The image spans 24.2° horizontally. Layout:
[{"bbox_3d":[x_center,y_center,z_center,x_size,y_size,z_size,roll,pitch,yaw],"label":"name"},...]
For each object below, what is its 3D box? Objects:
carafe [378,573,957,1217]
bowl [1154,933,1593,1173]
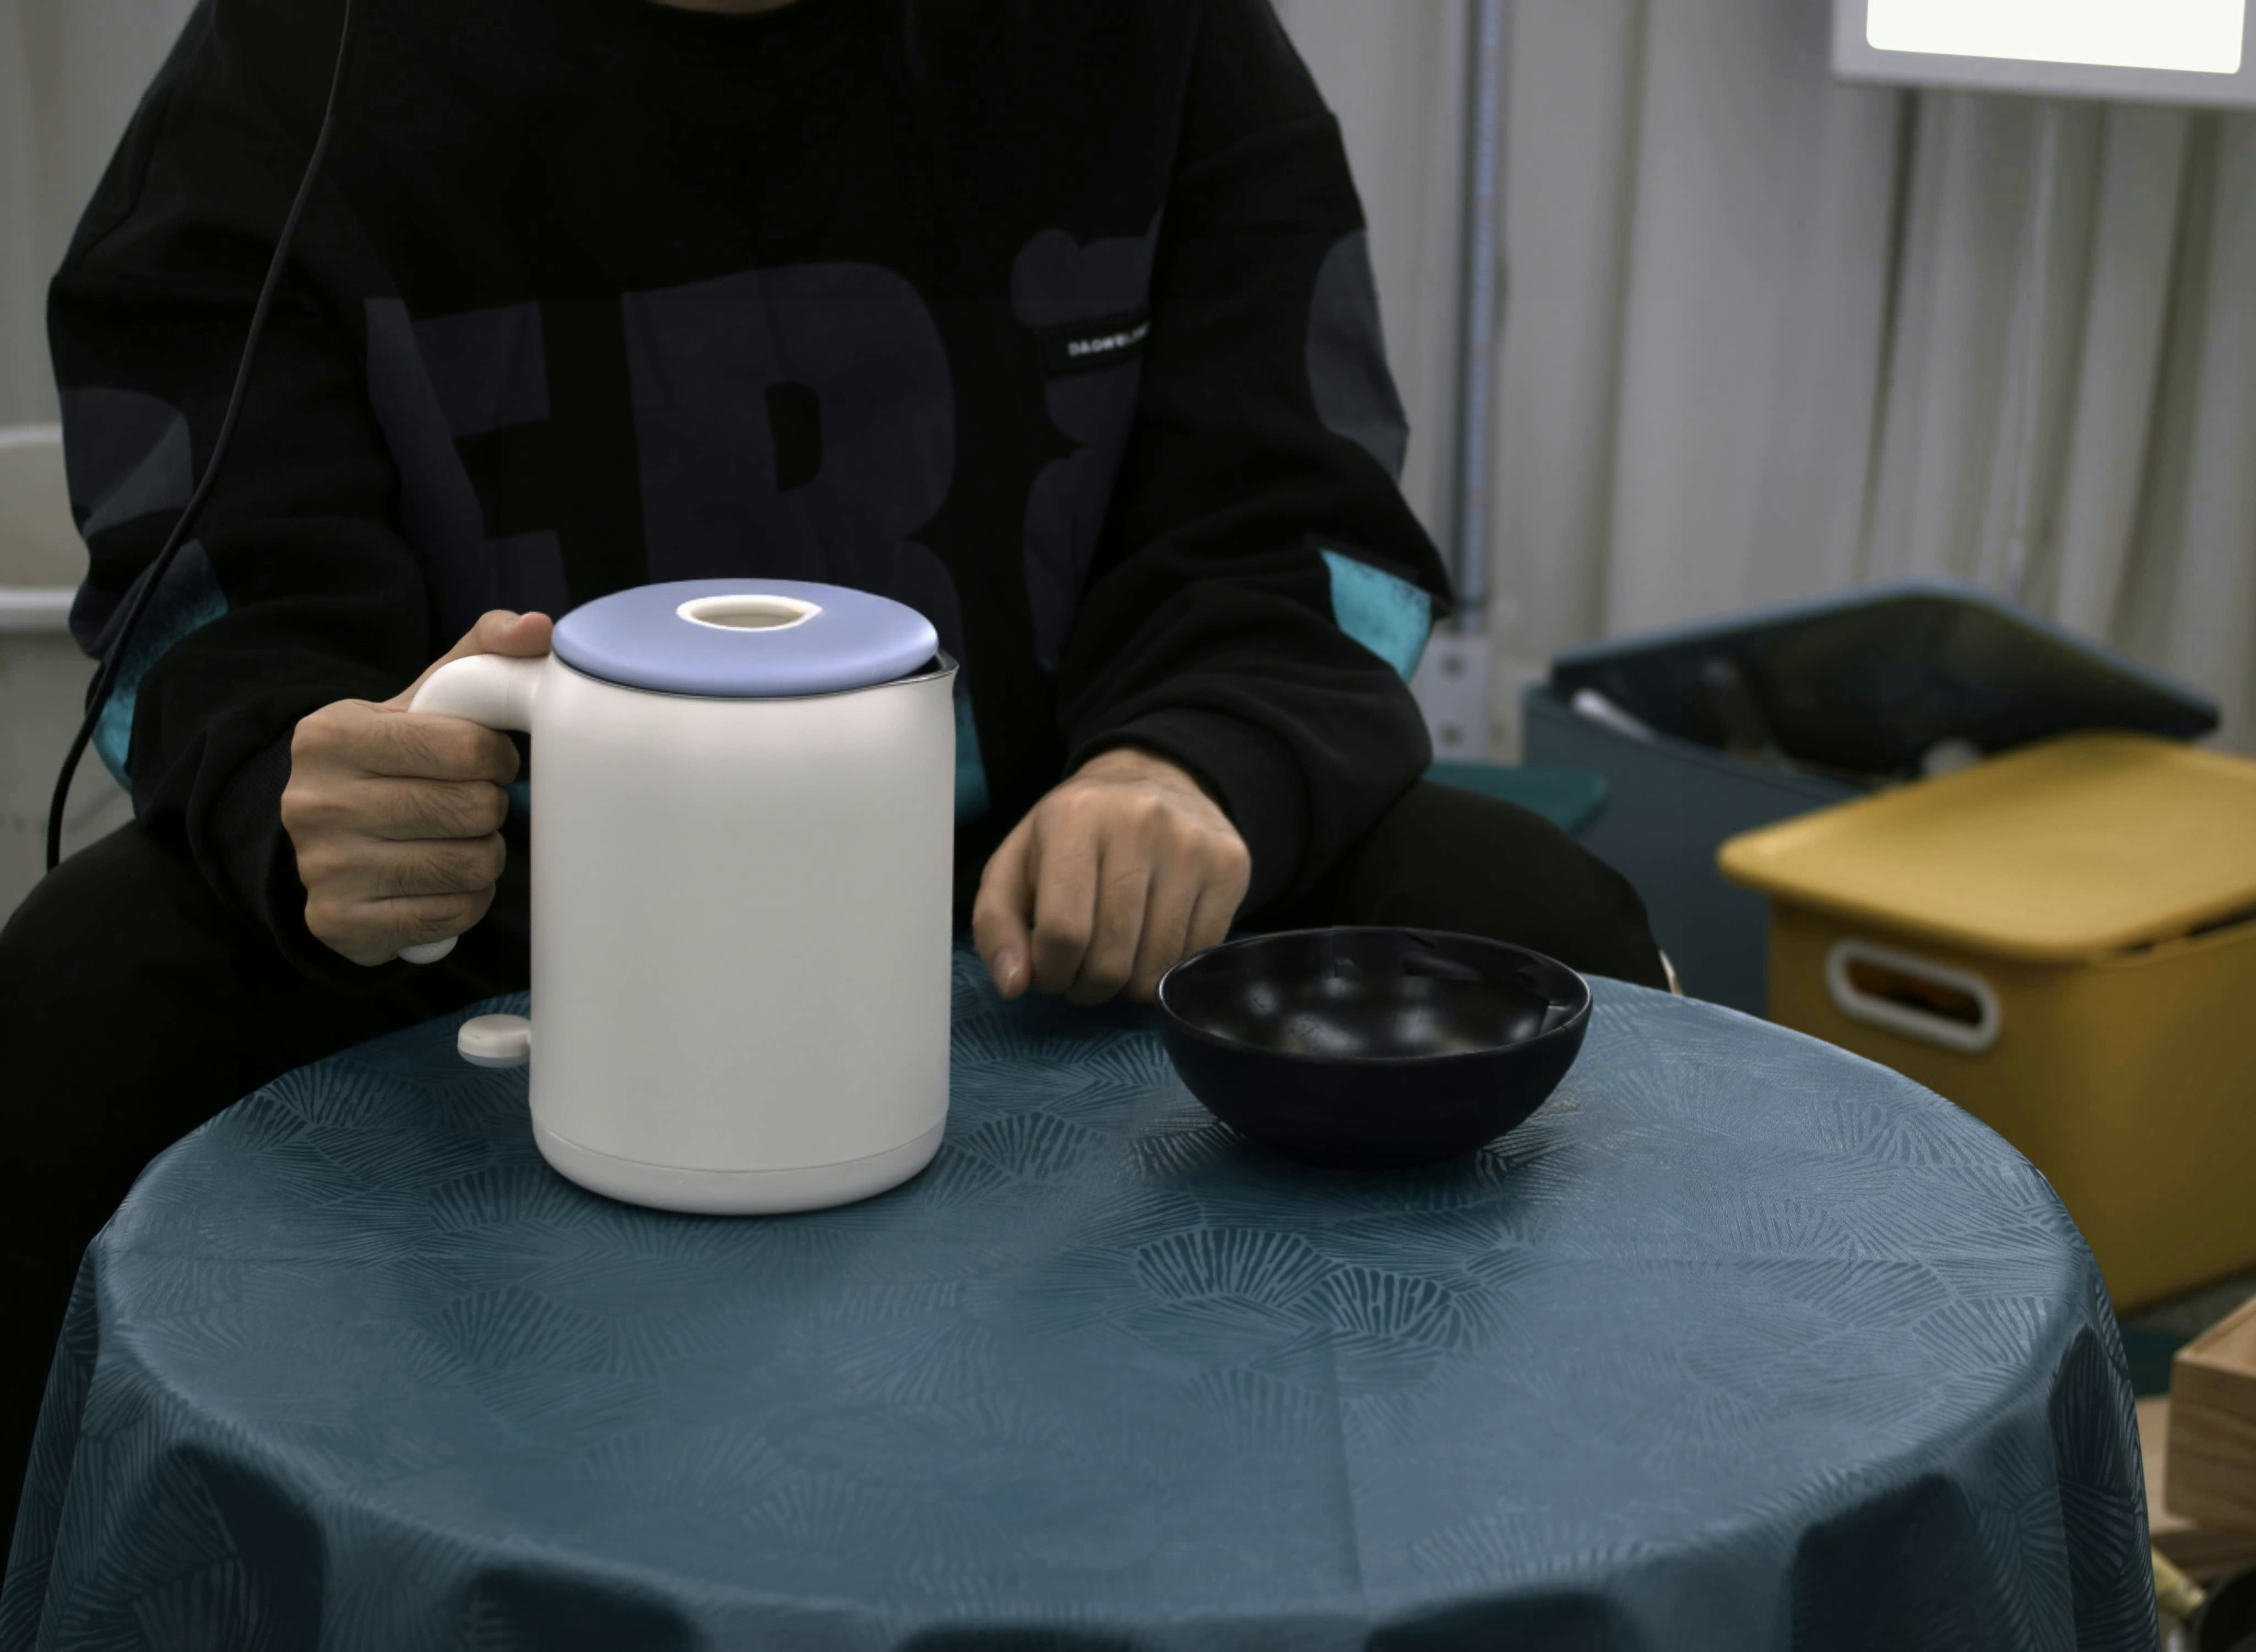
[{"bbox_3d":[-0.143,0.019,1.627,0.189,0.184,0.132,3,16,15],"label":"carafe"},{"bbox_3d":[0.078,0.076,1.664,0.139,0.050,0.139,-1,14,1],"label":"bowl"}]
